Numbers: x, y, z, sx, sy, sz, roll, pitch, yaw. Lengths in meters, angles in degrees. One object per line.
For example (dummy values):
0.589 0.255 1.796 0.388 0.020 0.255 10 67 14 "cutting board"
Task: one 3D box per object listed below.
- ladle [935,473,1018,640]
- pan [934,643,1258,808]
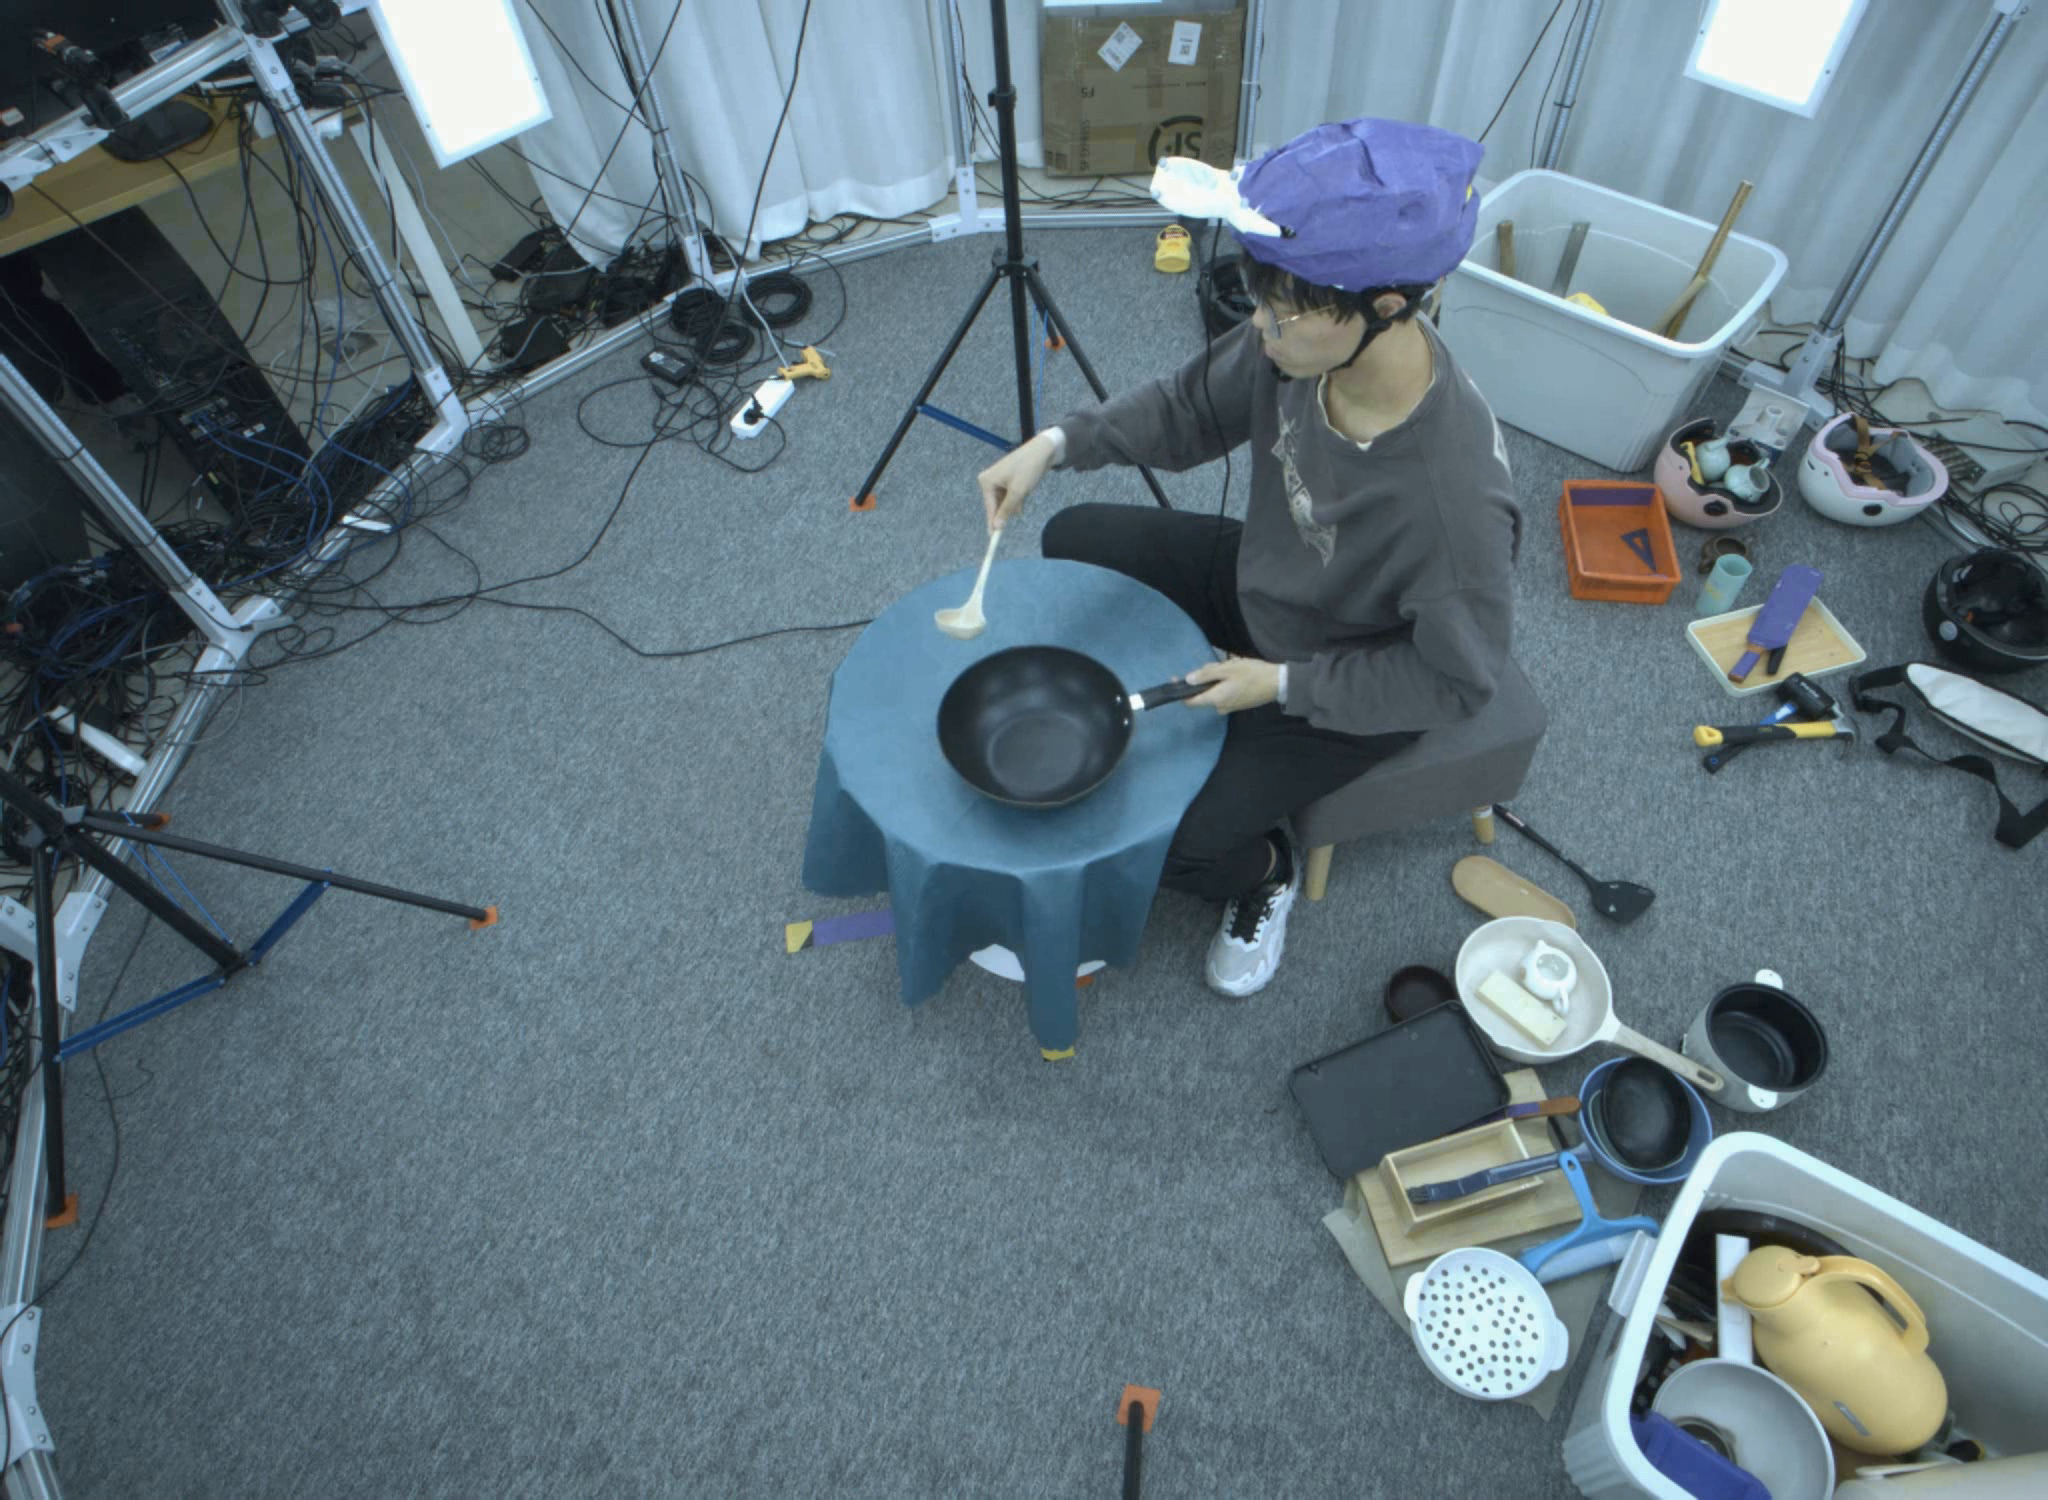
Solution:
-0.061 -0.280 1.712 0.071 0.074 0.254 15 89 19 "ladle"
0.105 -0.041 1.759 0.466 0.088 0.283 -12 54 -8 "pan"
